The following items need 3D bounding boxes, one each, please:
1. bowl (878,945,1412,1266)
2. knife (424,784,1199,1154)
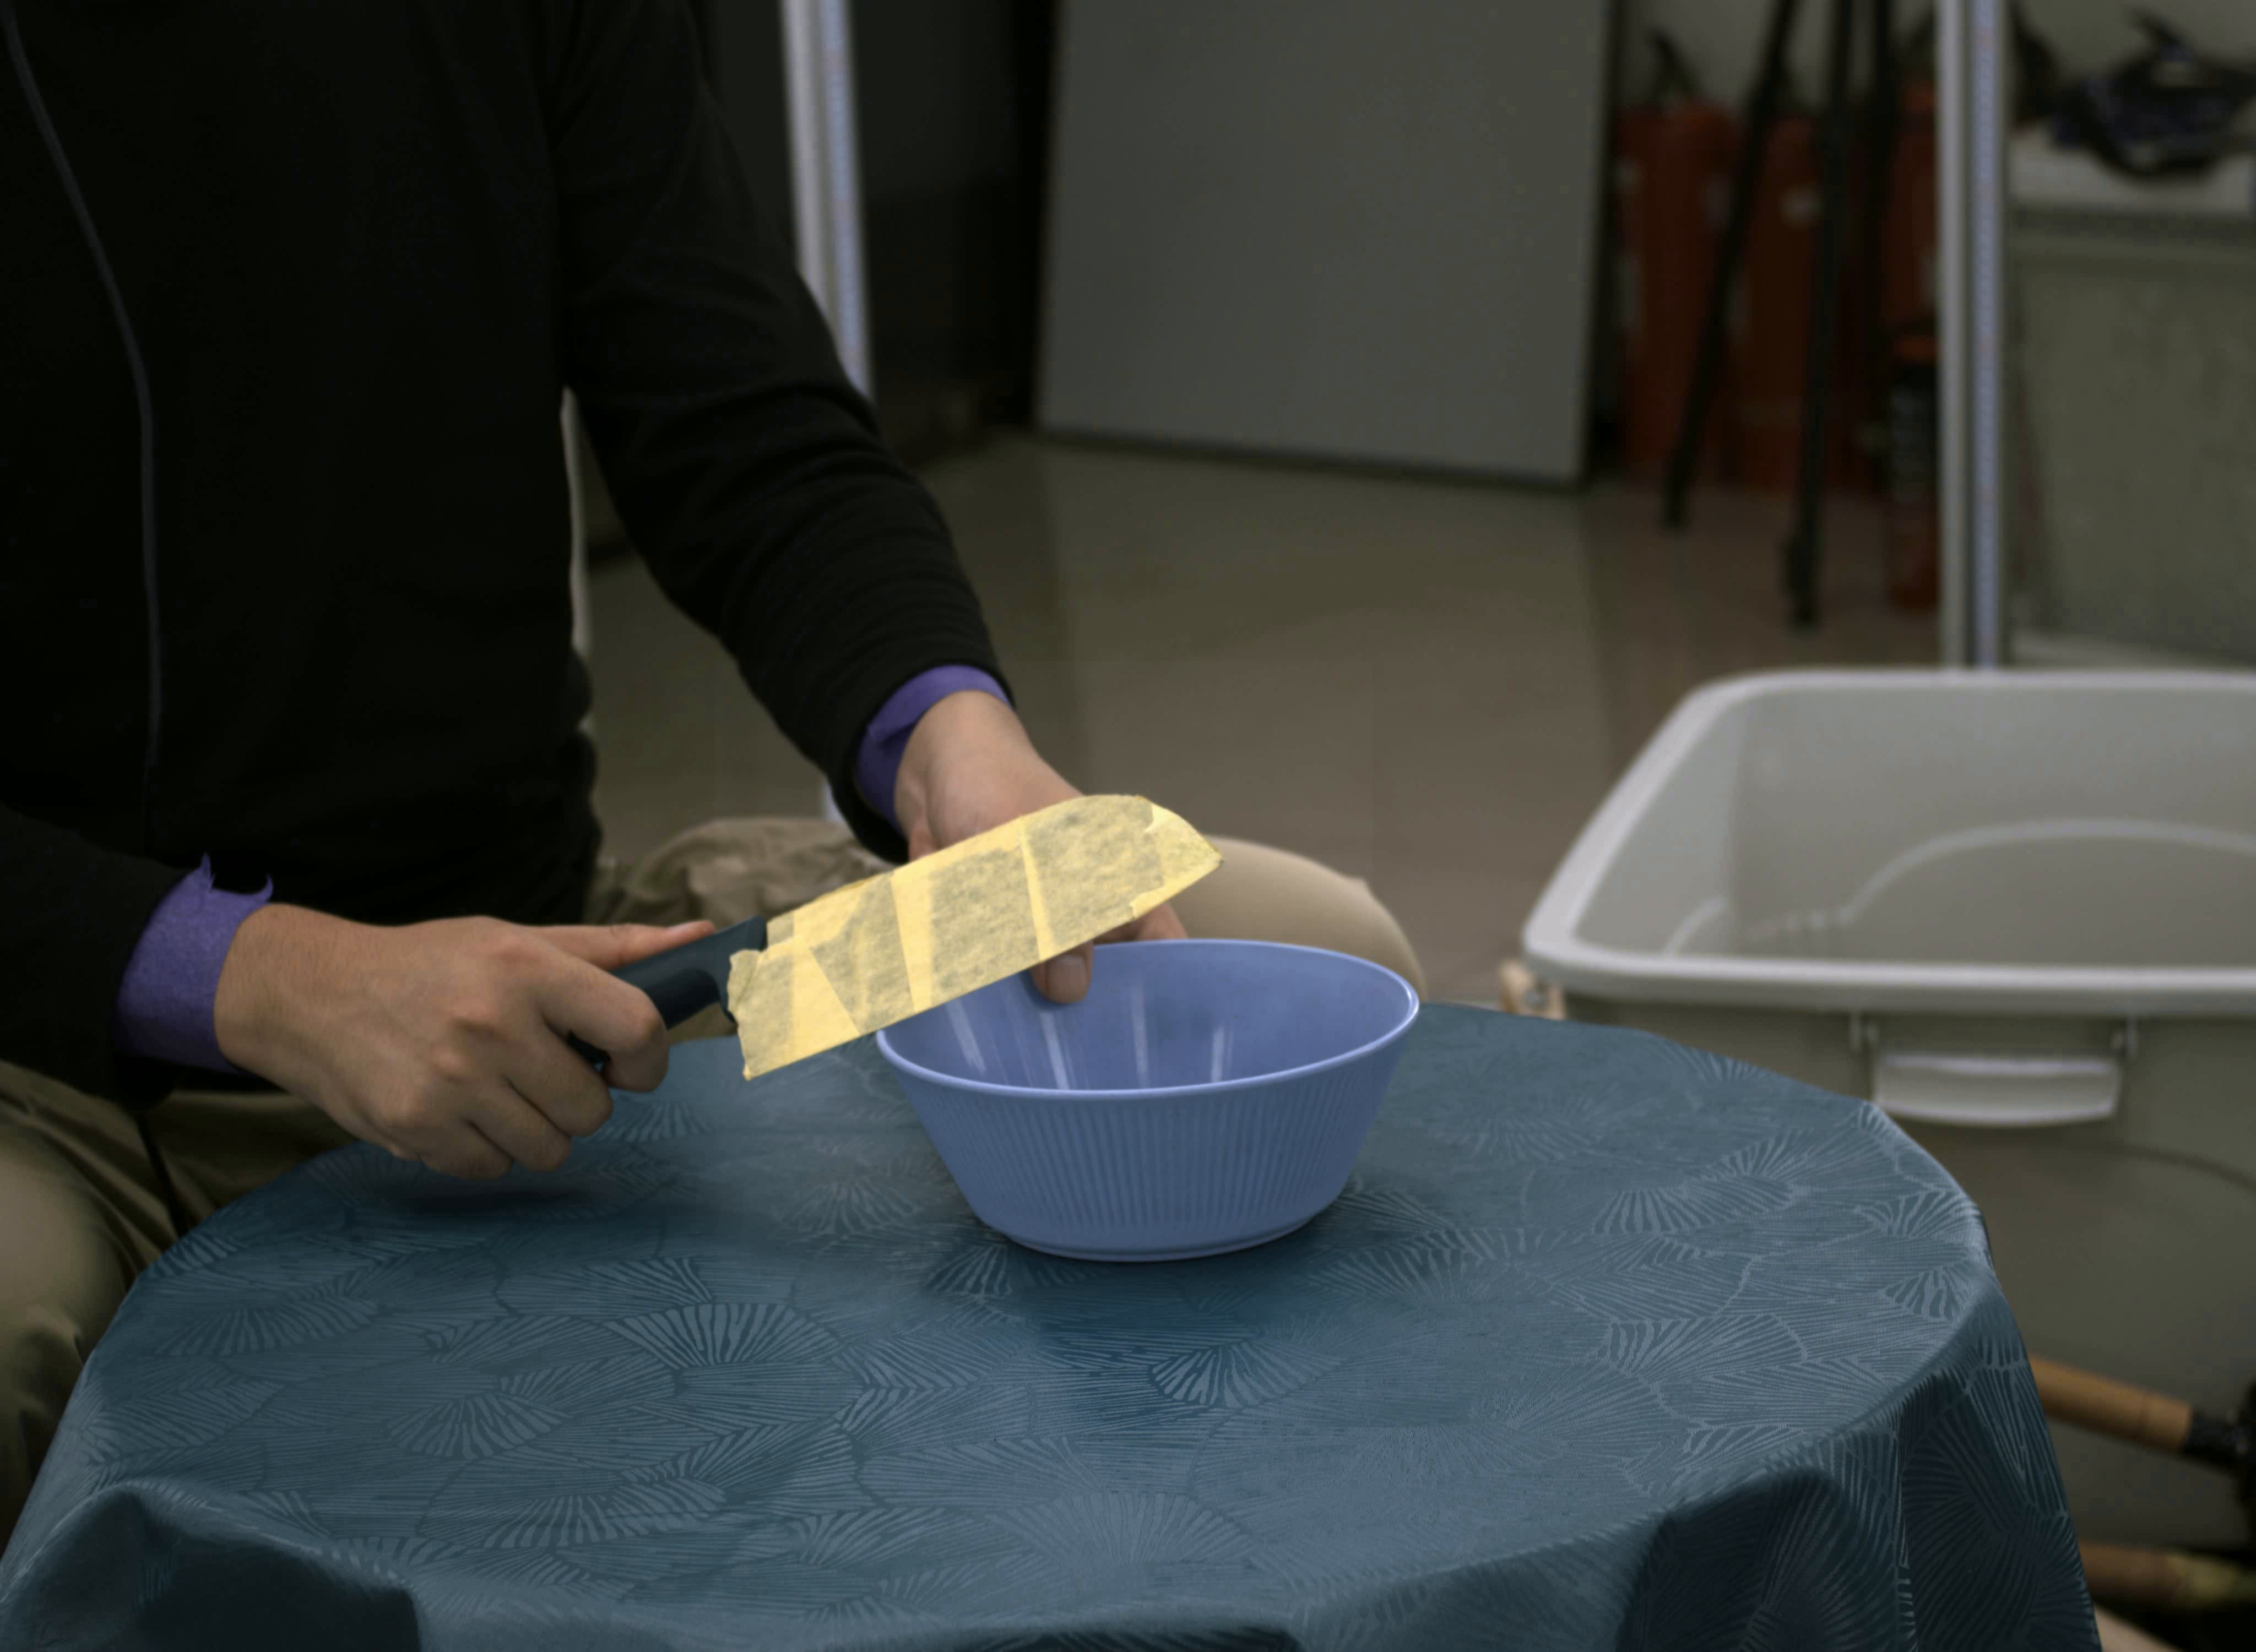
[{"bbox_3d":[0.008,0.093,1.743,0.174,0.071,0.176,-5,14,0],"label":"bowl"},{"bbox_3d":[-0.105,0.052,1.777,0.289,0.027,0.081,-23,36,15],"label":"knife"}]
